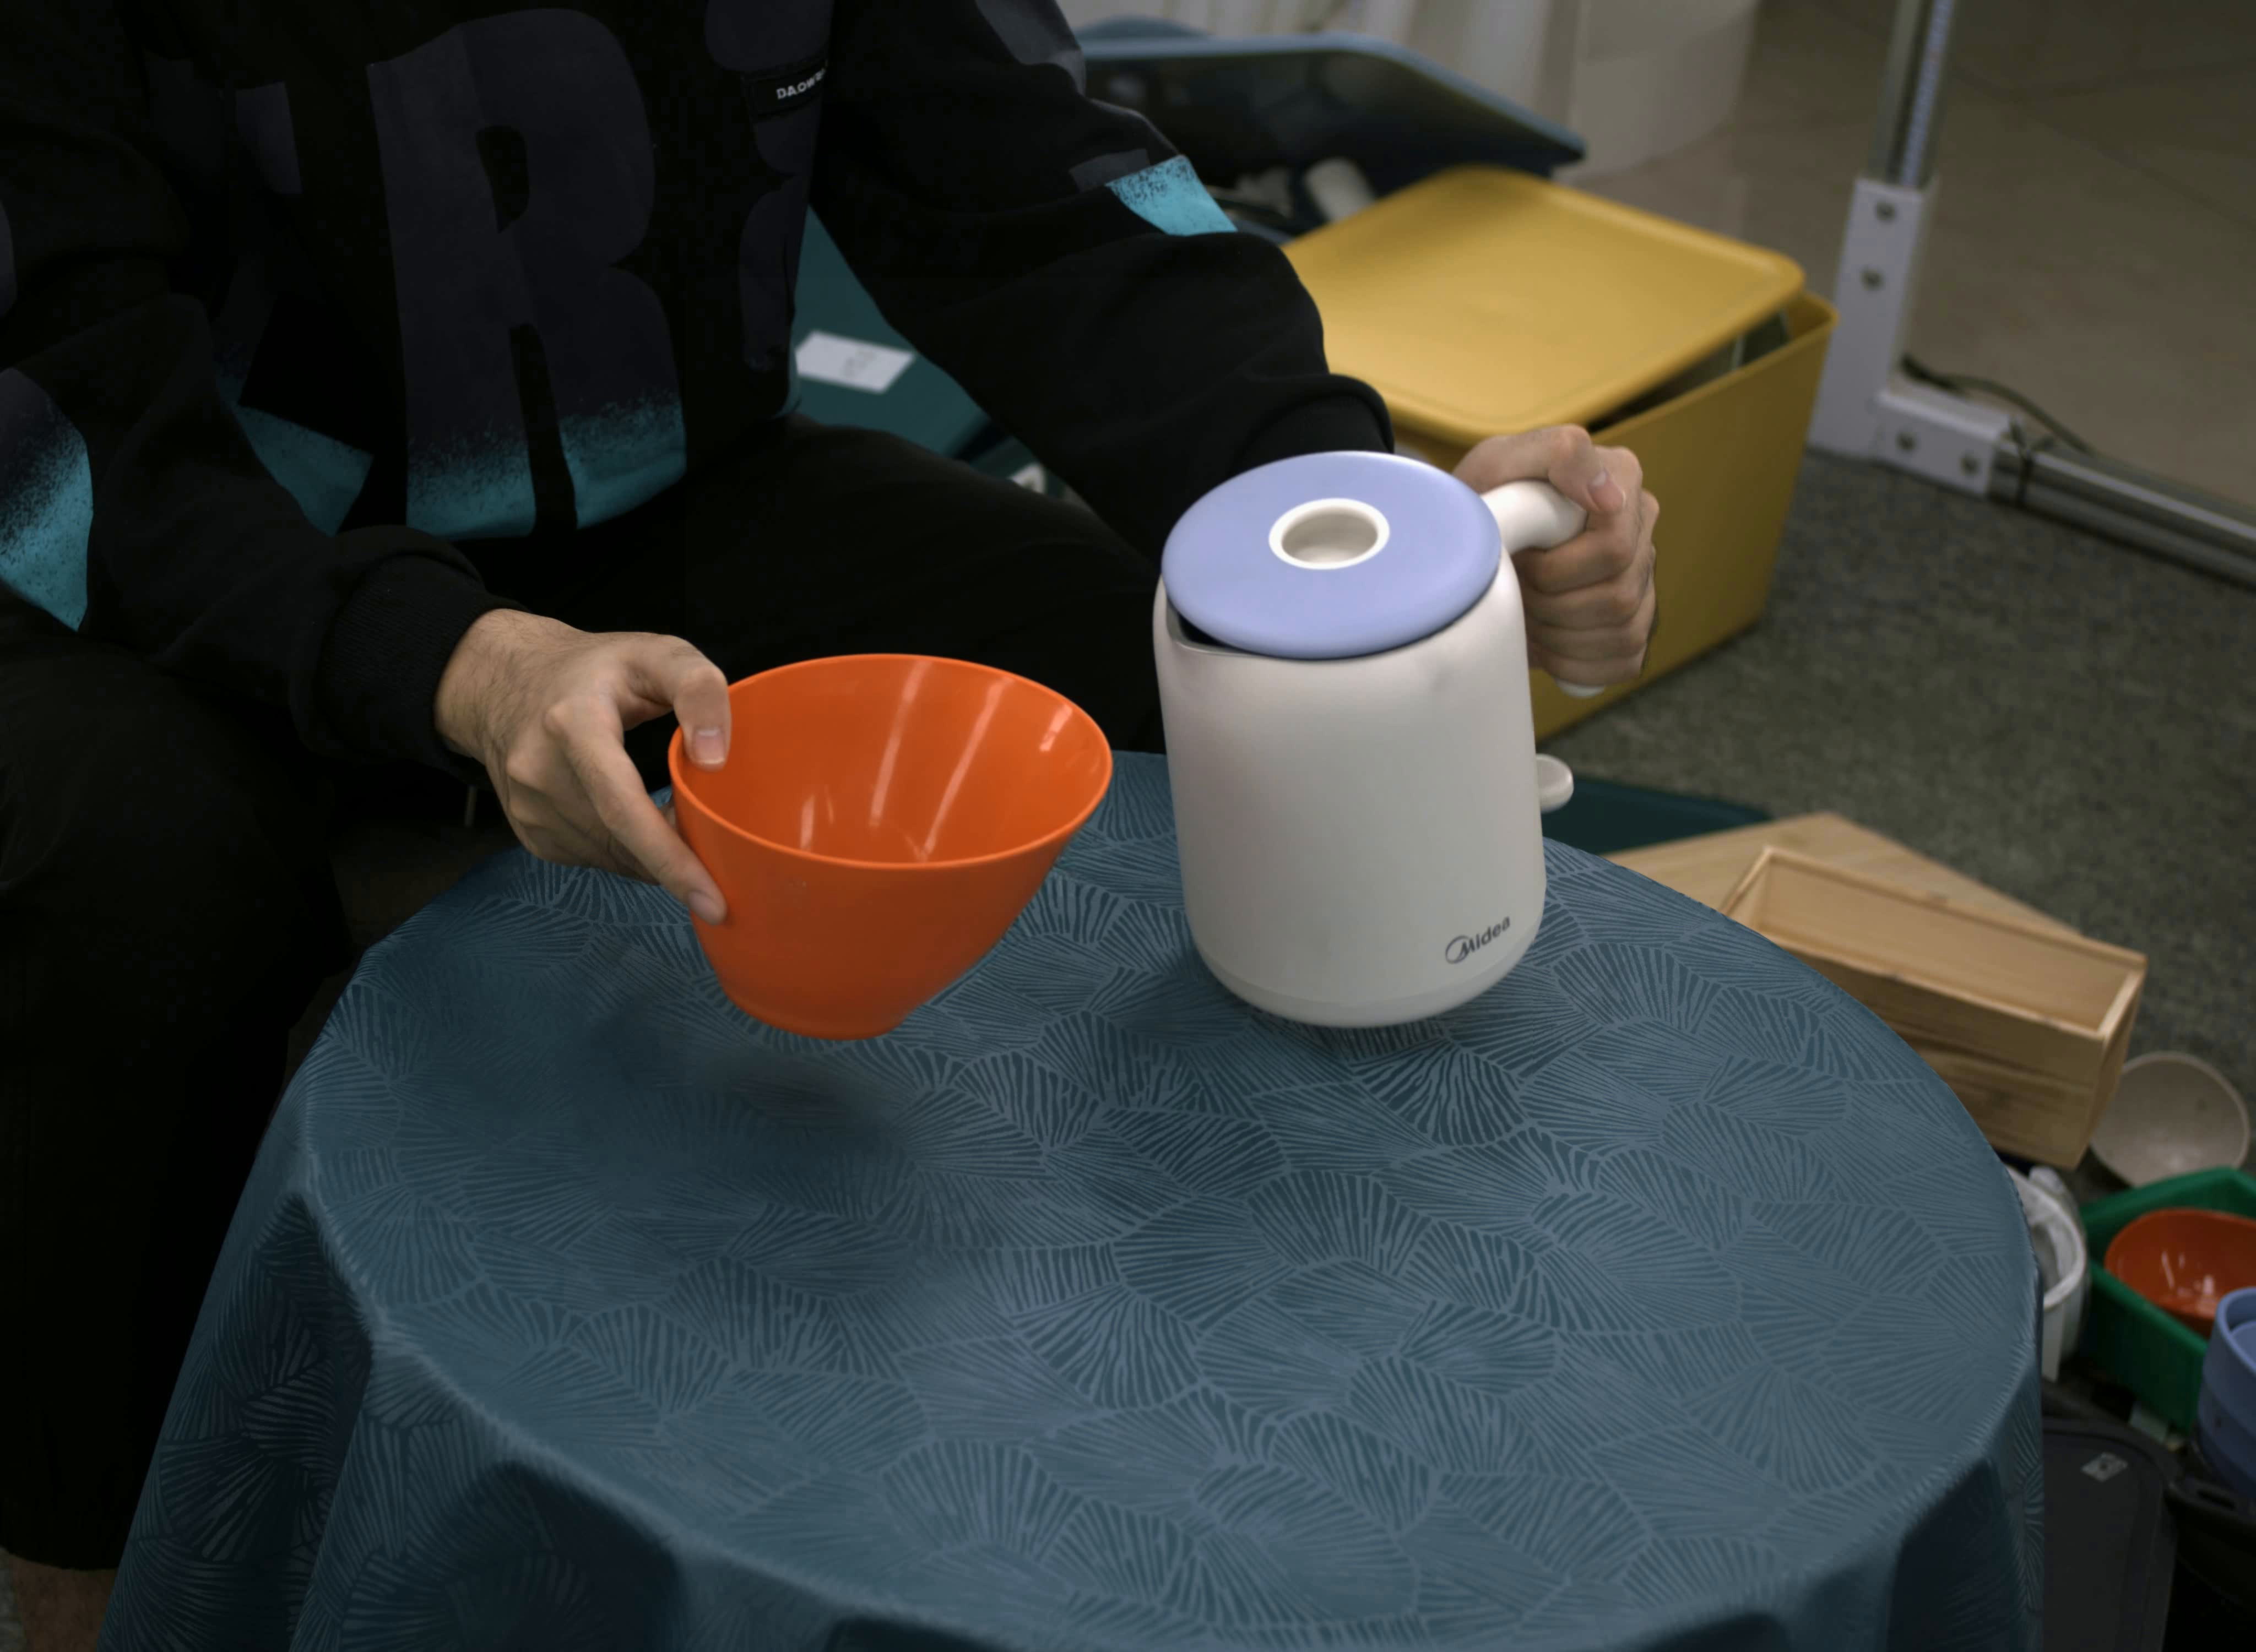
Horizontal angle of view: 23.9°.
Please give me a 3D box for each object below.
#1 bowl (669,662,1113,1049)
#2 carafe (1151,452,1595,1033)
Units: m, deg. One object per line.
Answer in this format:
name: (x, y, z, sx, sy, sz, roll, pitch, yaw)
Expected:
bowl: (-0.087, 0.015, 1.800, 0.147, 0.104, 0.149, 11, 25, -5)
carafe: (0.096, -0.040, 1.900, 0.190, 0.181, 0.133, -28, 42, -29)
